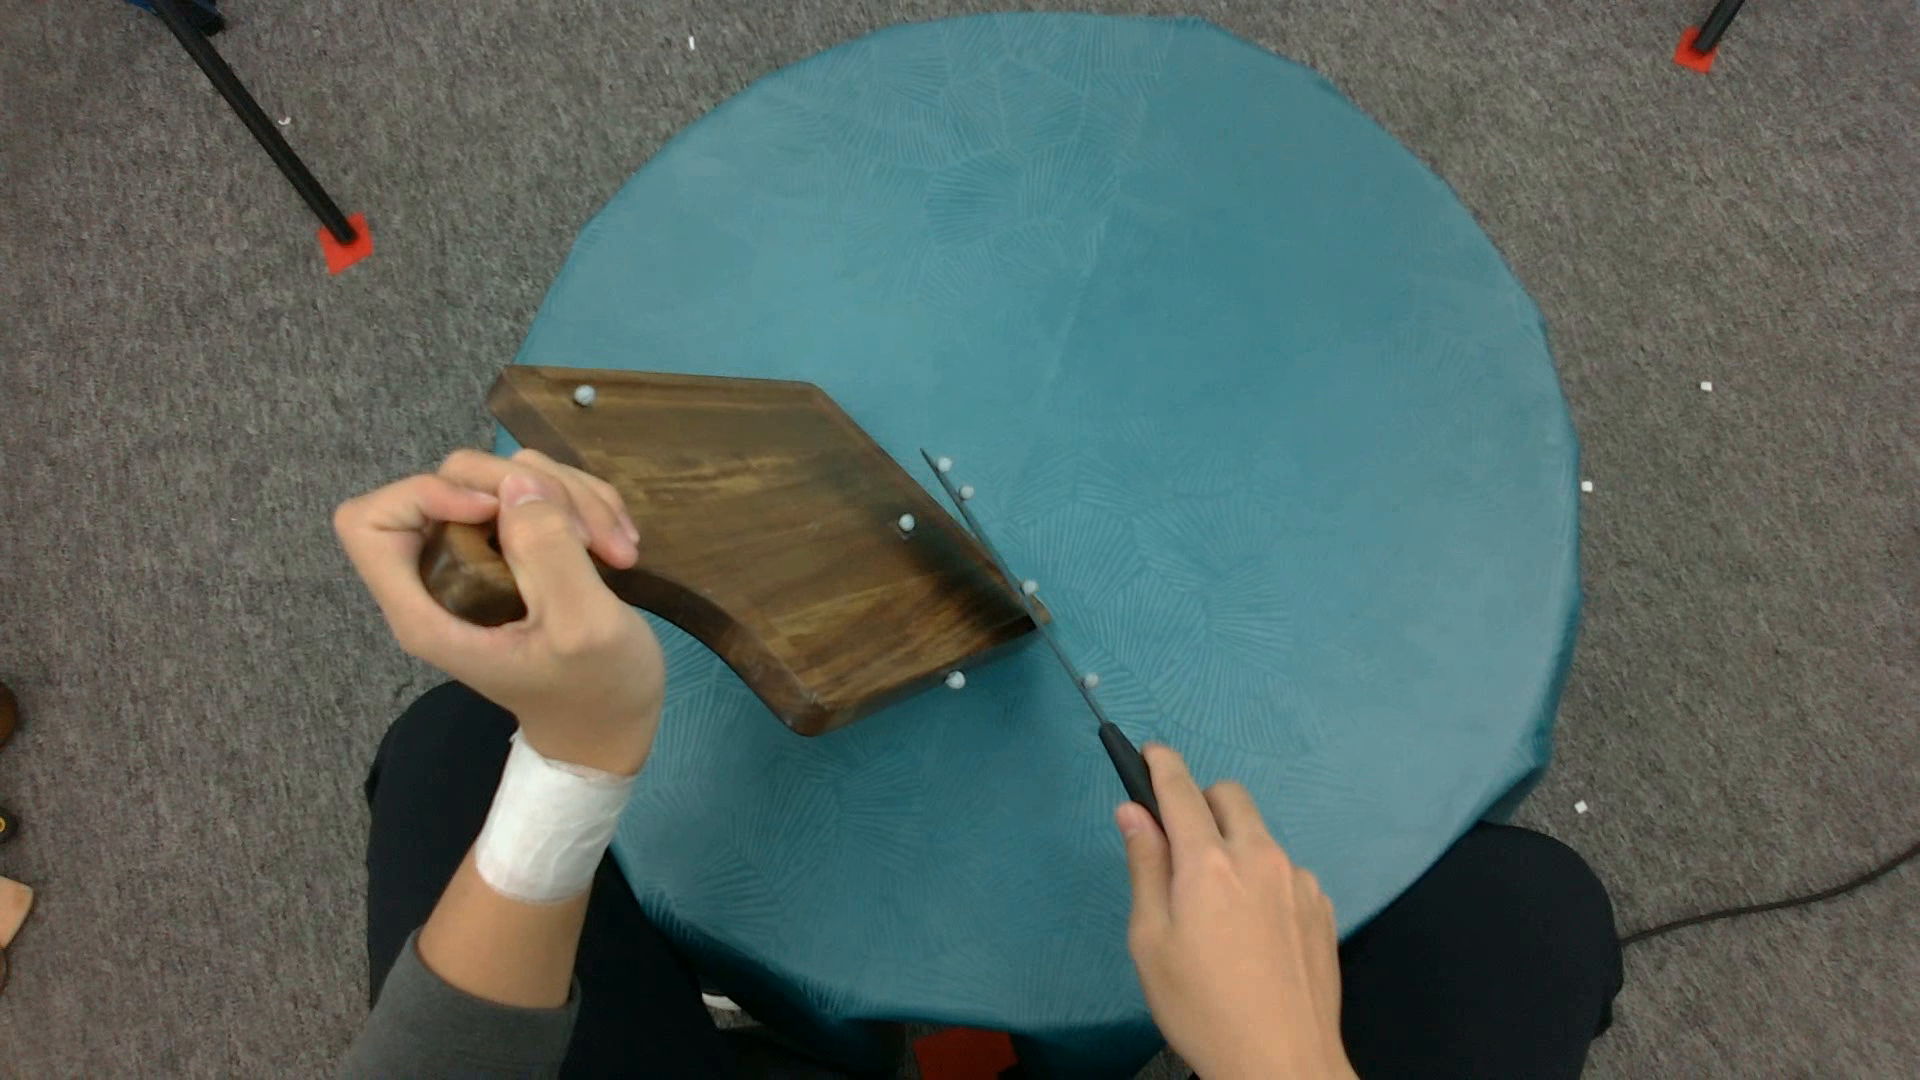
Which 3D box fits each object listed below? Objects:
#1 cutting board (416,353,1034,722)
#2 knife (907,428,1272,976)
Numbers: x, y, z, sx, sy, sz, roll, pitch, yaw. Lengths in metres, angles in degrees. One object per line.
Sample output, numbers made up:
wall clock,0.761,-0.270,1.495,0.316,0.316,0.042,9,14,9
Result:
cutting board,-0.097,-0.011,0.589,0.201,0.353,0.023,43,109,13
knife,0.054,0.067,0.651,0.021,0.081,0.303,-34,63,4
